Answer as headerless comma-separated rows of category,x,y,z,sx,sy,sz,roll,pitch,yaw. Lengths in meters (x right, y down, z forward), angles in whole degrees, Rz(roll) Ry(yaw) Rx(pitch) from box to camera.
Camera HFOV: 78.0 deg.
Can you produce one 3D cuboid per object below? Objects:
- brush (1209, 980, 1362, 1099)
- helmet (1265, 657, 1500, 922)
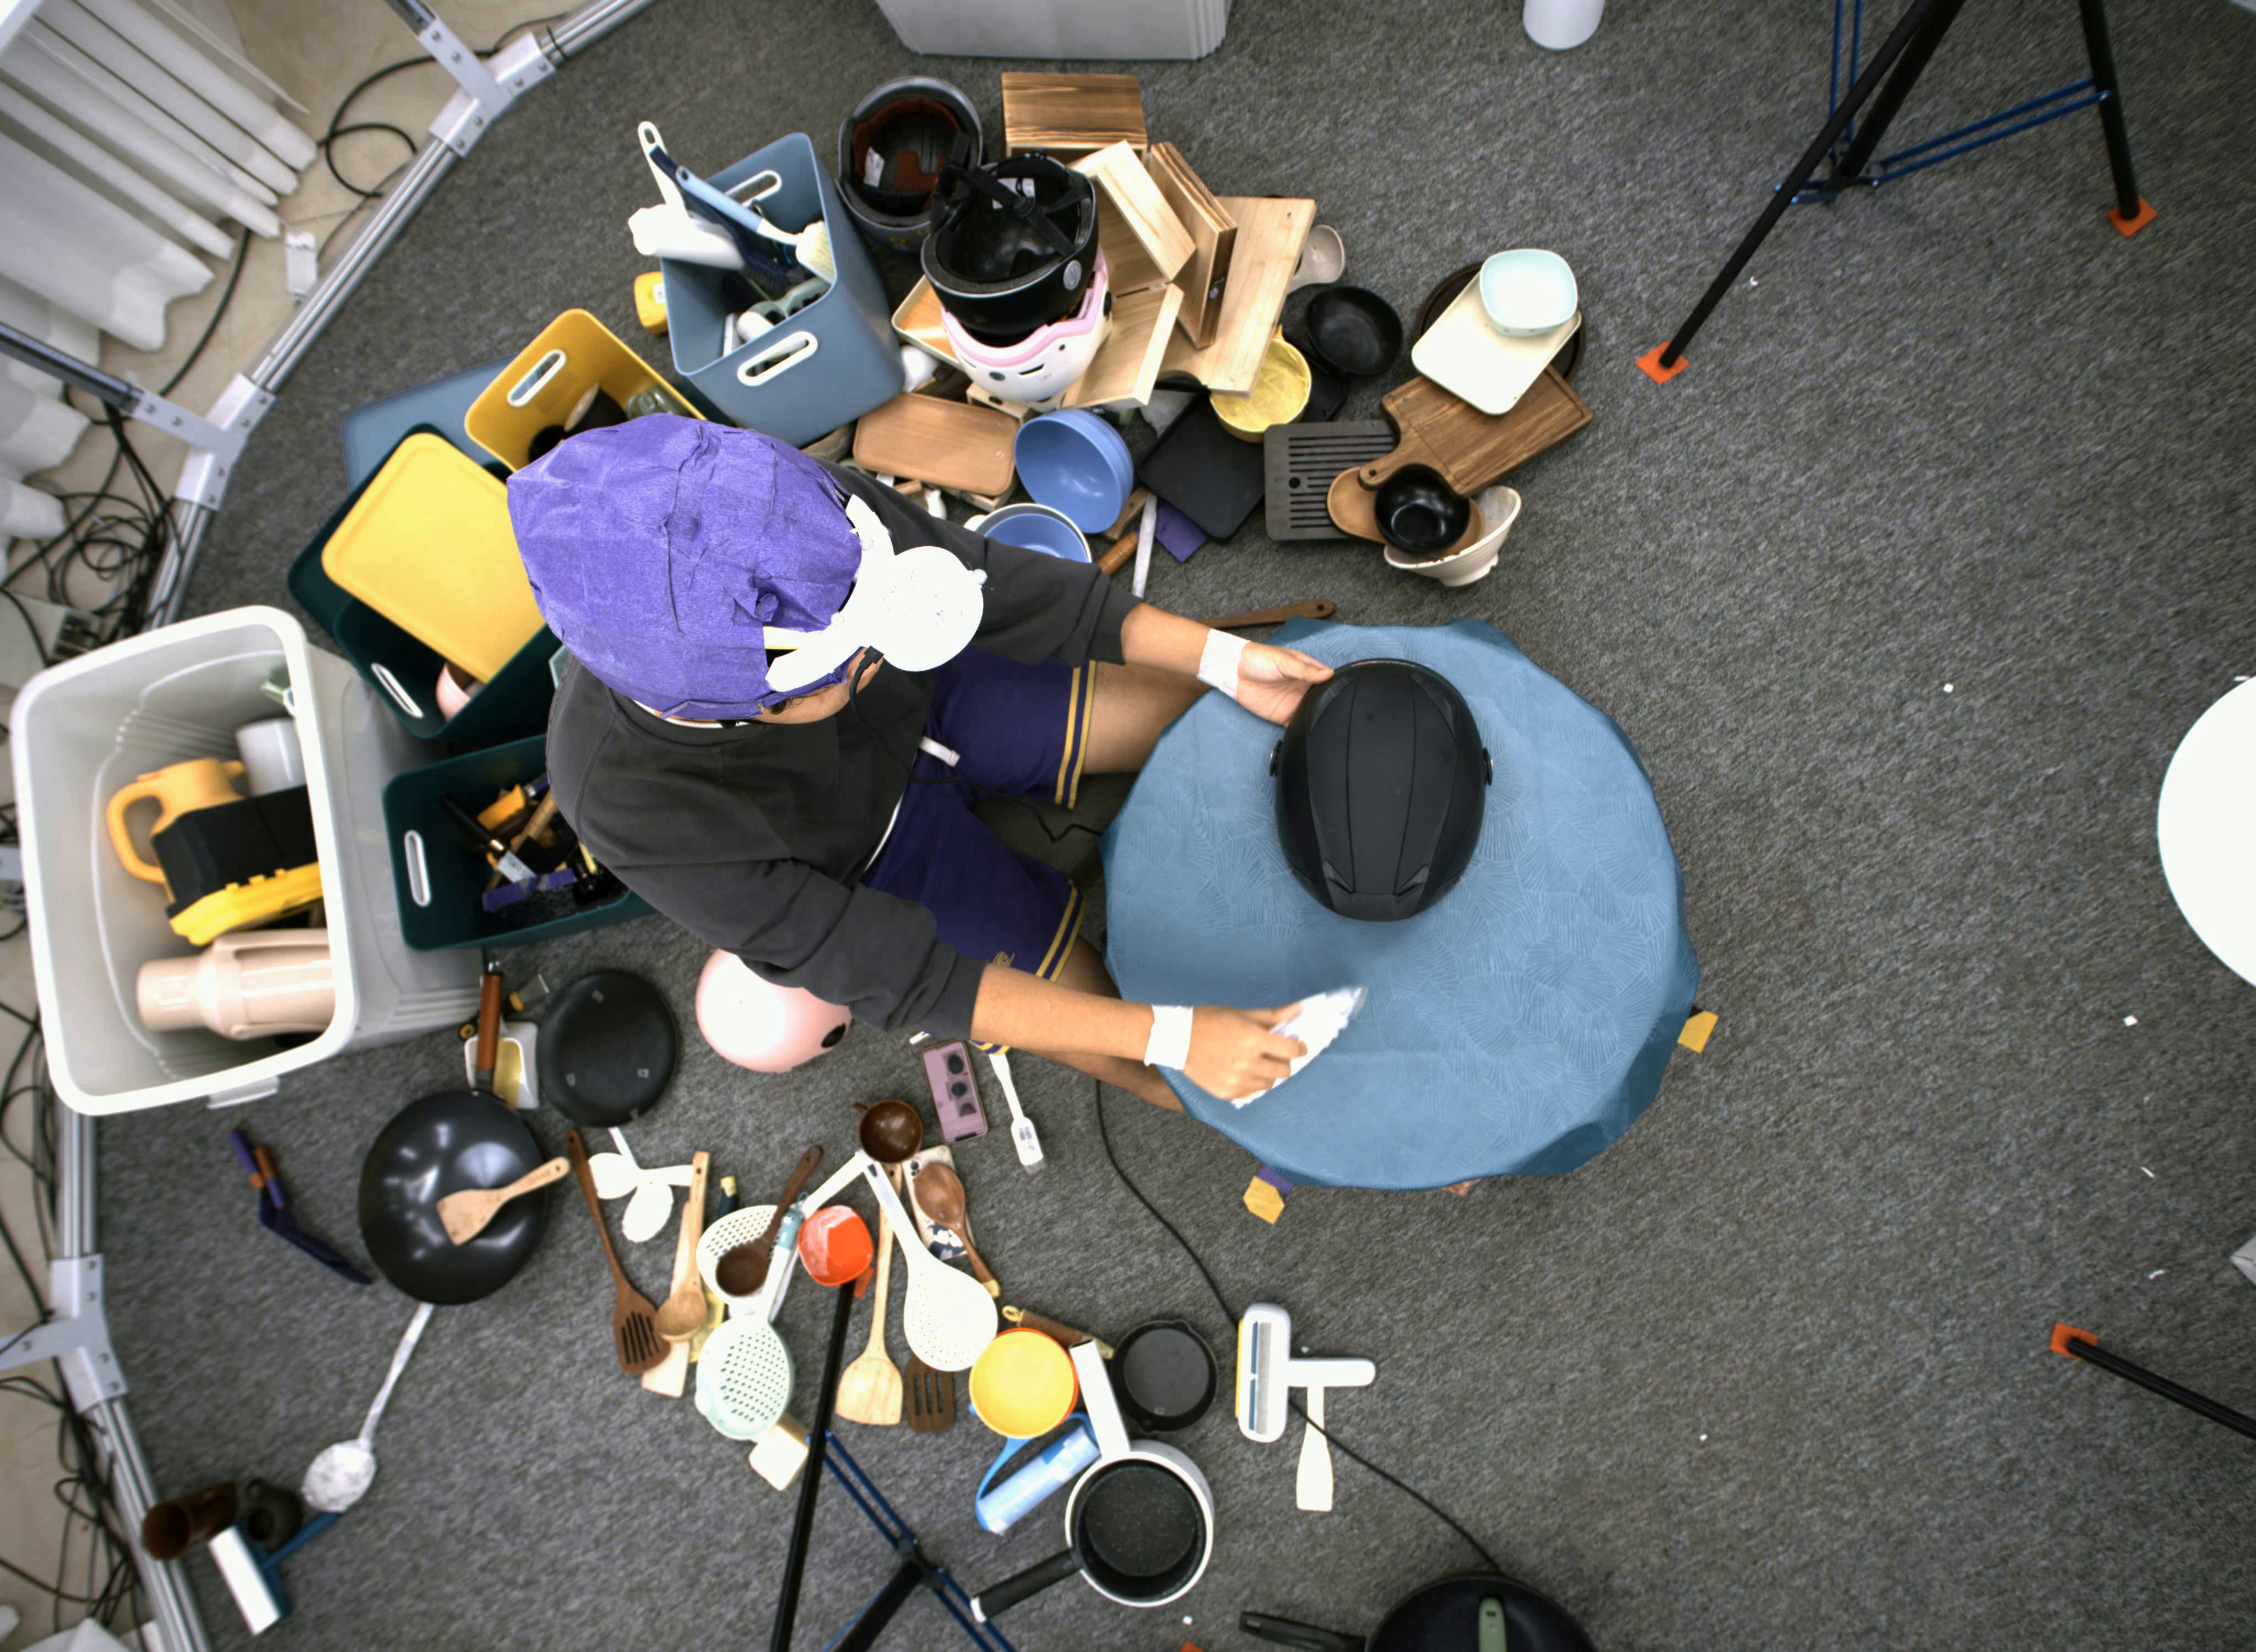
brush,0.159,0.200,1.363,0.176,0.095,0.061,-35,76,2
helmet,0.256,-0.041,1.388,0.247,0.172,0.277,5,91,10
